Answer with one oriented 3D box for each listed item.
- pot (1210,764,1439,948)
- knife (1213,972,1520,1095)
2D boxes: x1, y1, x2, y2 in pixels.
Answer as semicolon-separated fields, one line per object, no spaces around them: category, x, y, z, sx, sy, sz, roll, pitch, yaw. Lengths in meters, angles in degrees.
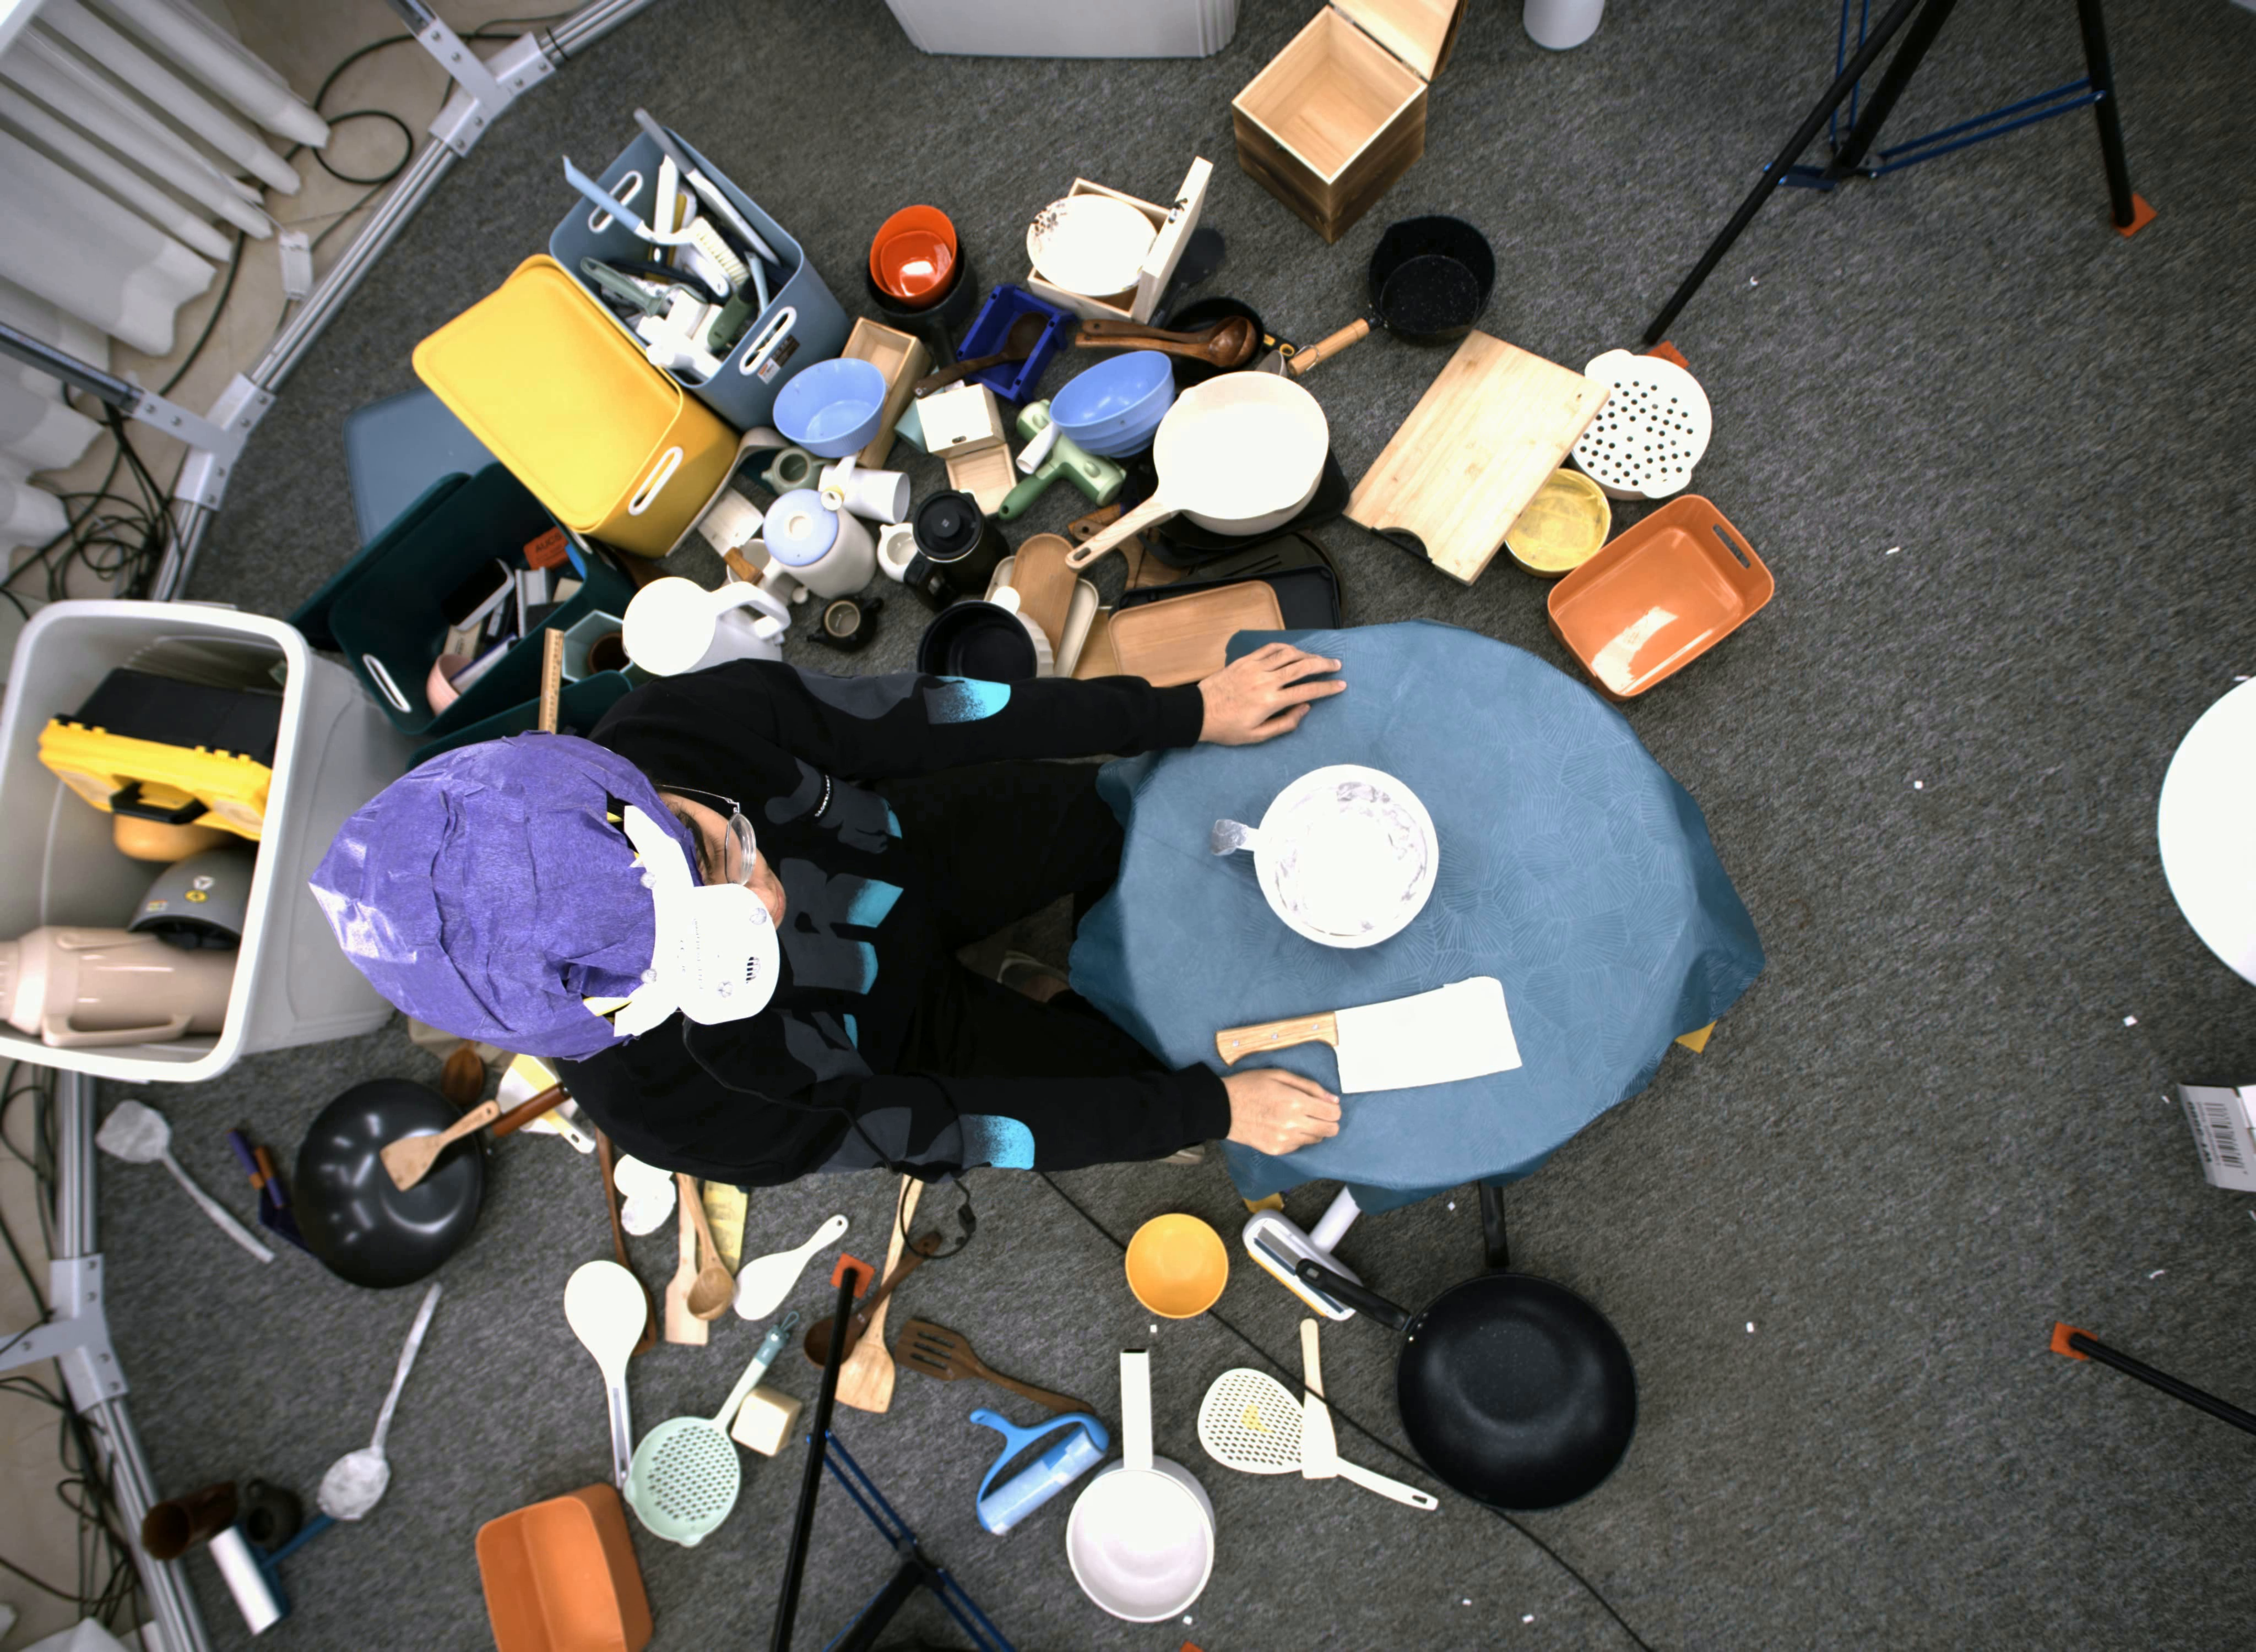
pot;0.195;0.029;1.407;0.234;0.137;0.178;10;87;10
knife;0.246;0.221;1.447;0.316;0.022;0.113;-7;86;7
